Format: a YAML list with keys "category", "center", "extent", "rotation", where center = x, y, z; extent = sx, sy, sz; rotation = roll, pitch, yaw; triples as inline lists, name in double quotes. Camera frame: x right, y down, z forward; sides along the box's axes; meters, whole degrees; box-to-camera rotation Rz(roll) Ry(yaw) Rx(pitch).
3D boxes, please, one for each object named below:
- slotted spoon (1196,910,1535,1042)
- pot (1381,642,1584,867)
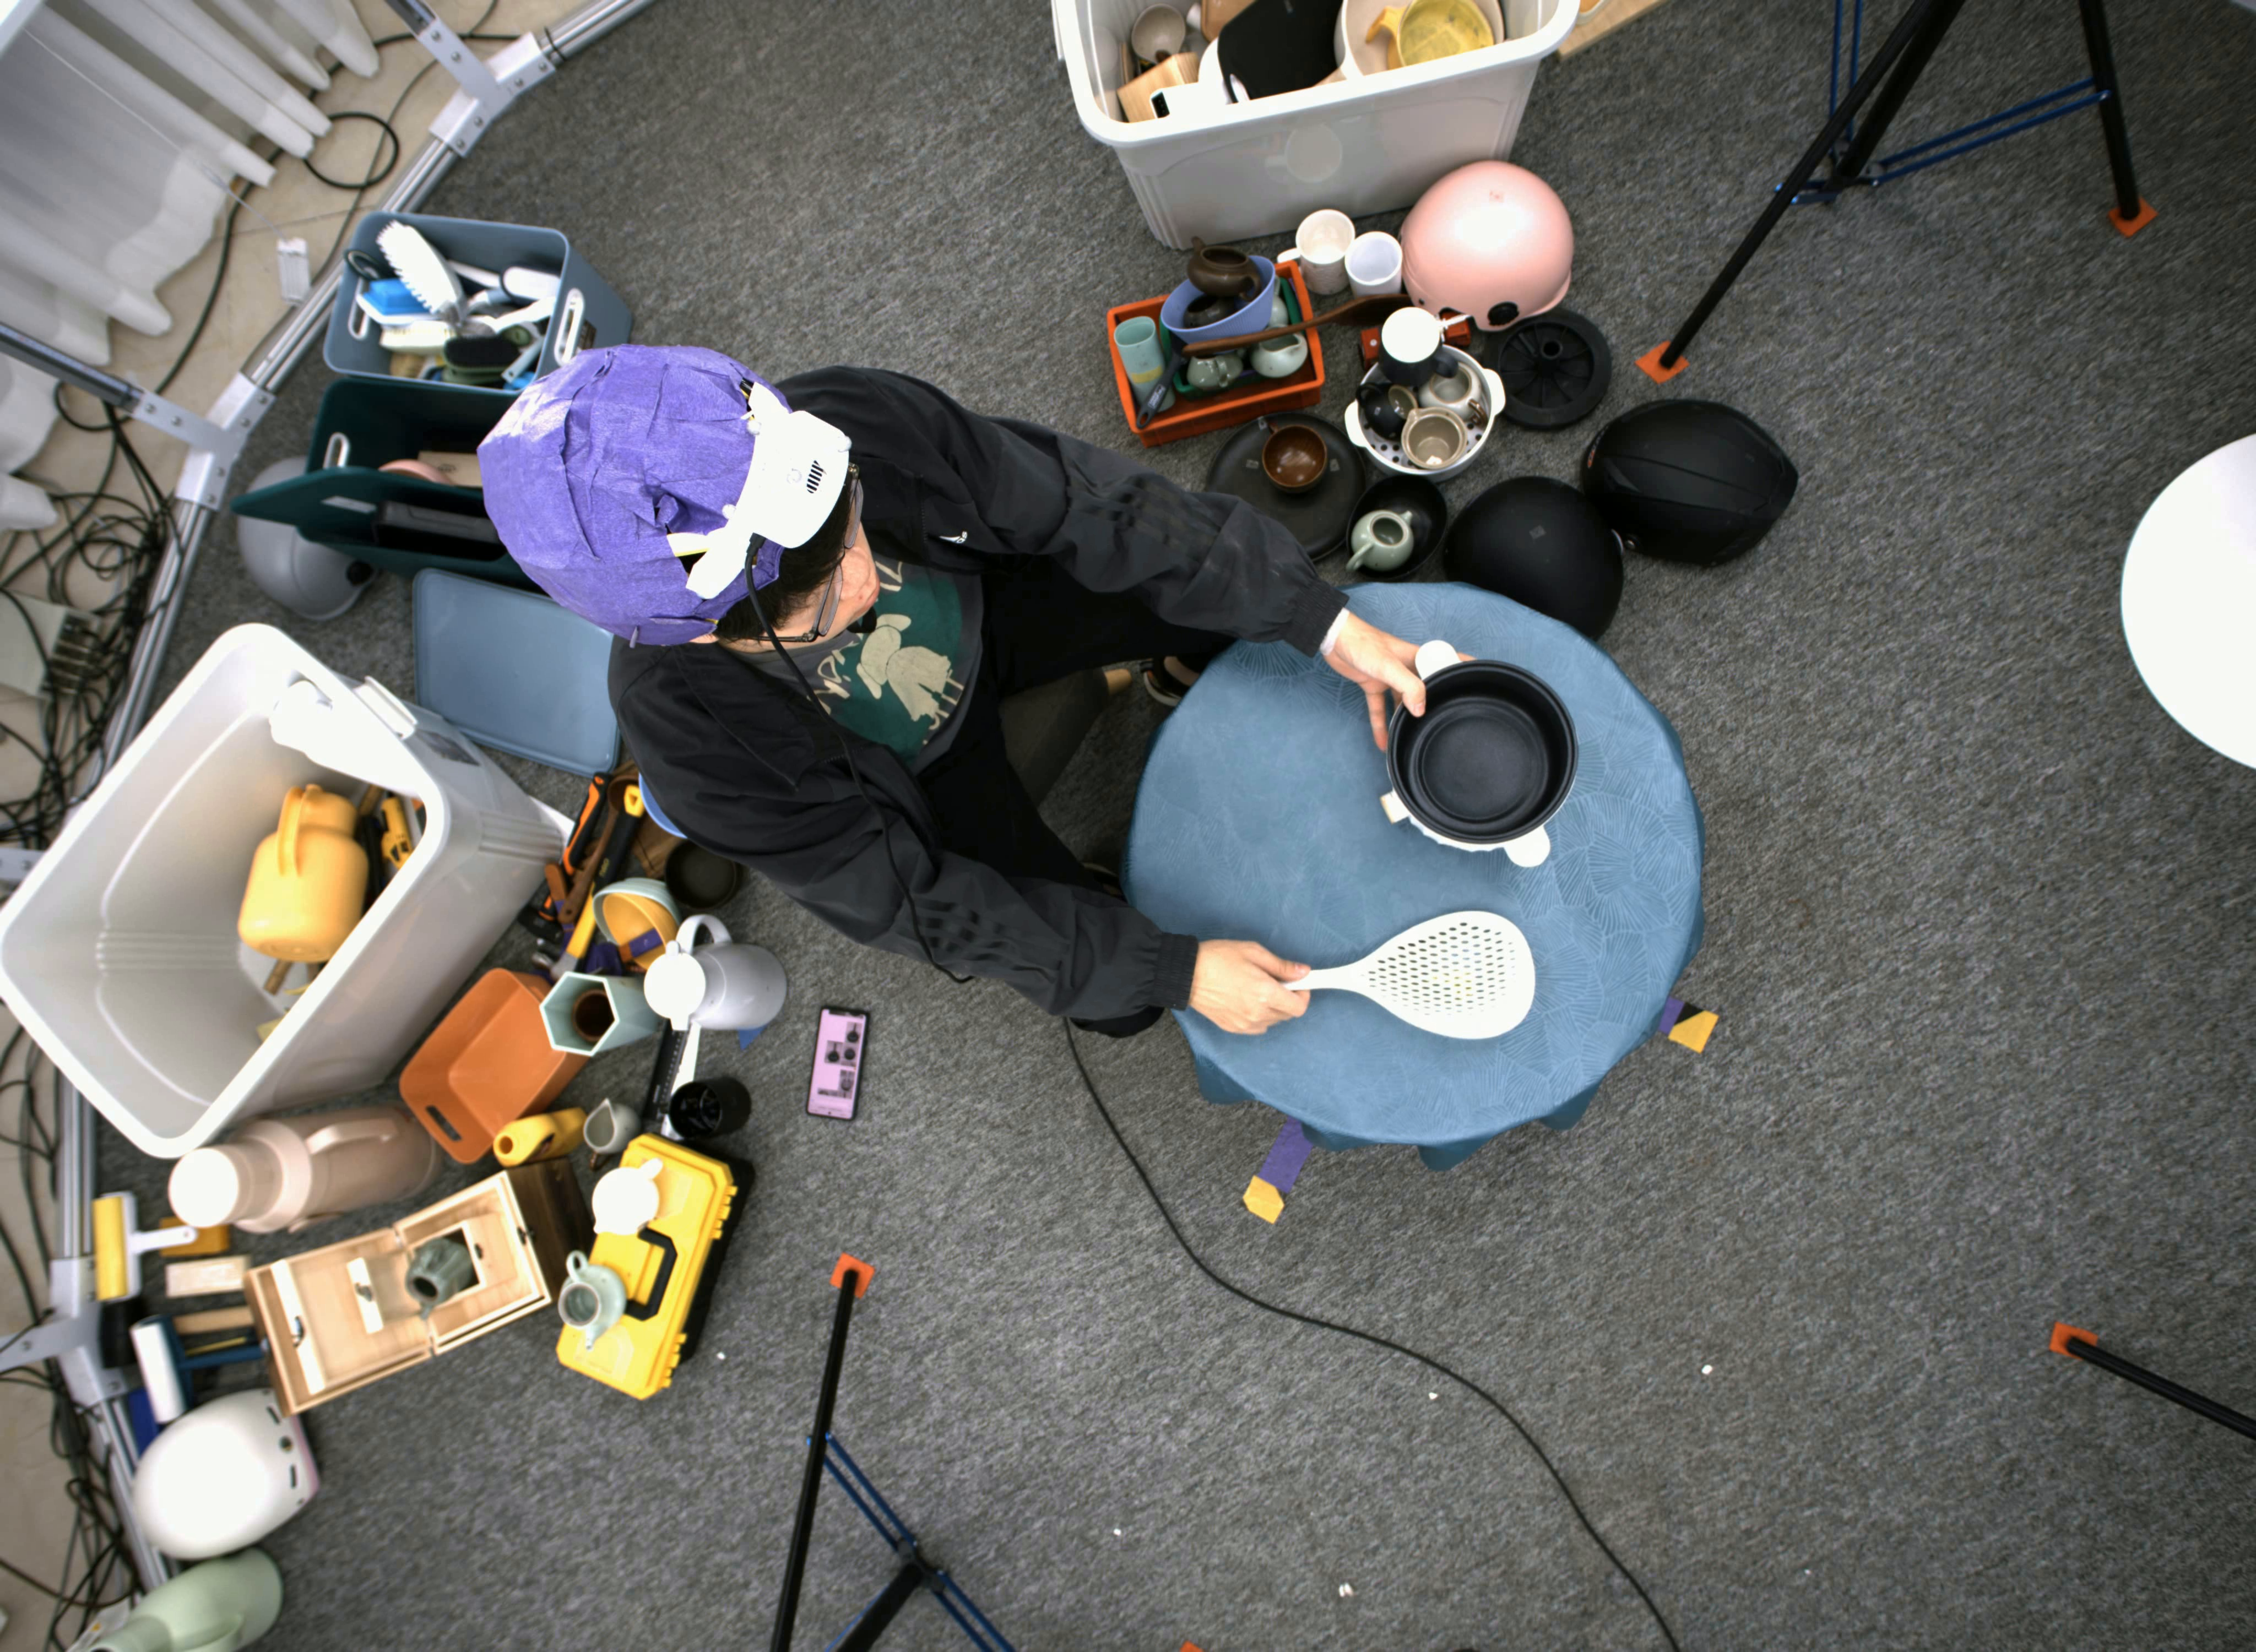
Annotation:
- category: "slotted spoon"
  center: [0.241, 0.161, 1.433]
  extent: [0.349, 0.051, 0.134]
  rotation: [-3, 73, 9]
- category: "pot"
  center: [0.348, -0.061, 1.380]
  extent: [0.191, 0.143, 0.238]
  rotation: [-25, 80, 5]
